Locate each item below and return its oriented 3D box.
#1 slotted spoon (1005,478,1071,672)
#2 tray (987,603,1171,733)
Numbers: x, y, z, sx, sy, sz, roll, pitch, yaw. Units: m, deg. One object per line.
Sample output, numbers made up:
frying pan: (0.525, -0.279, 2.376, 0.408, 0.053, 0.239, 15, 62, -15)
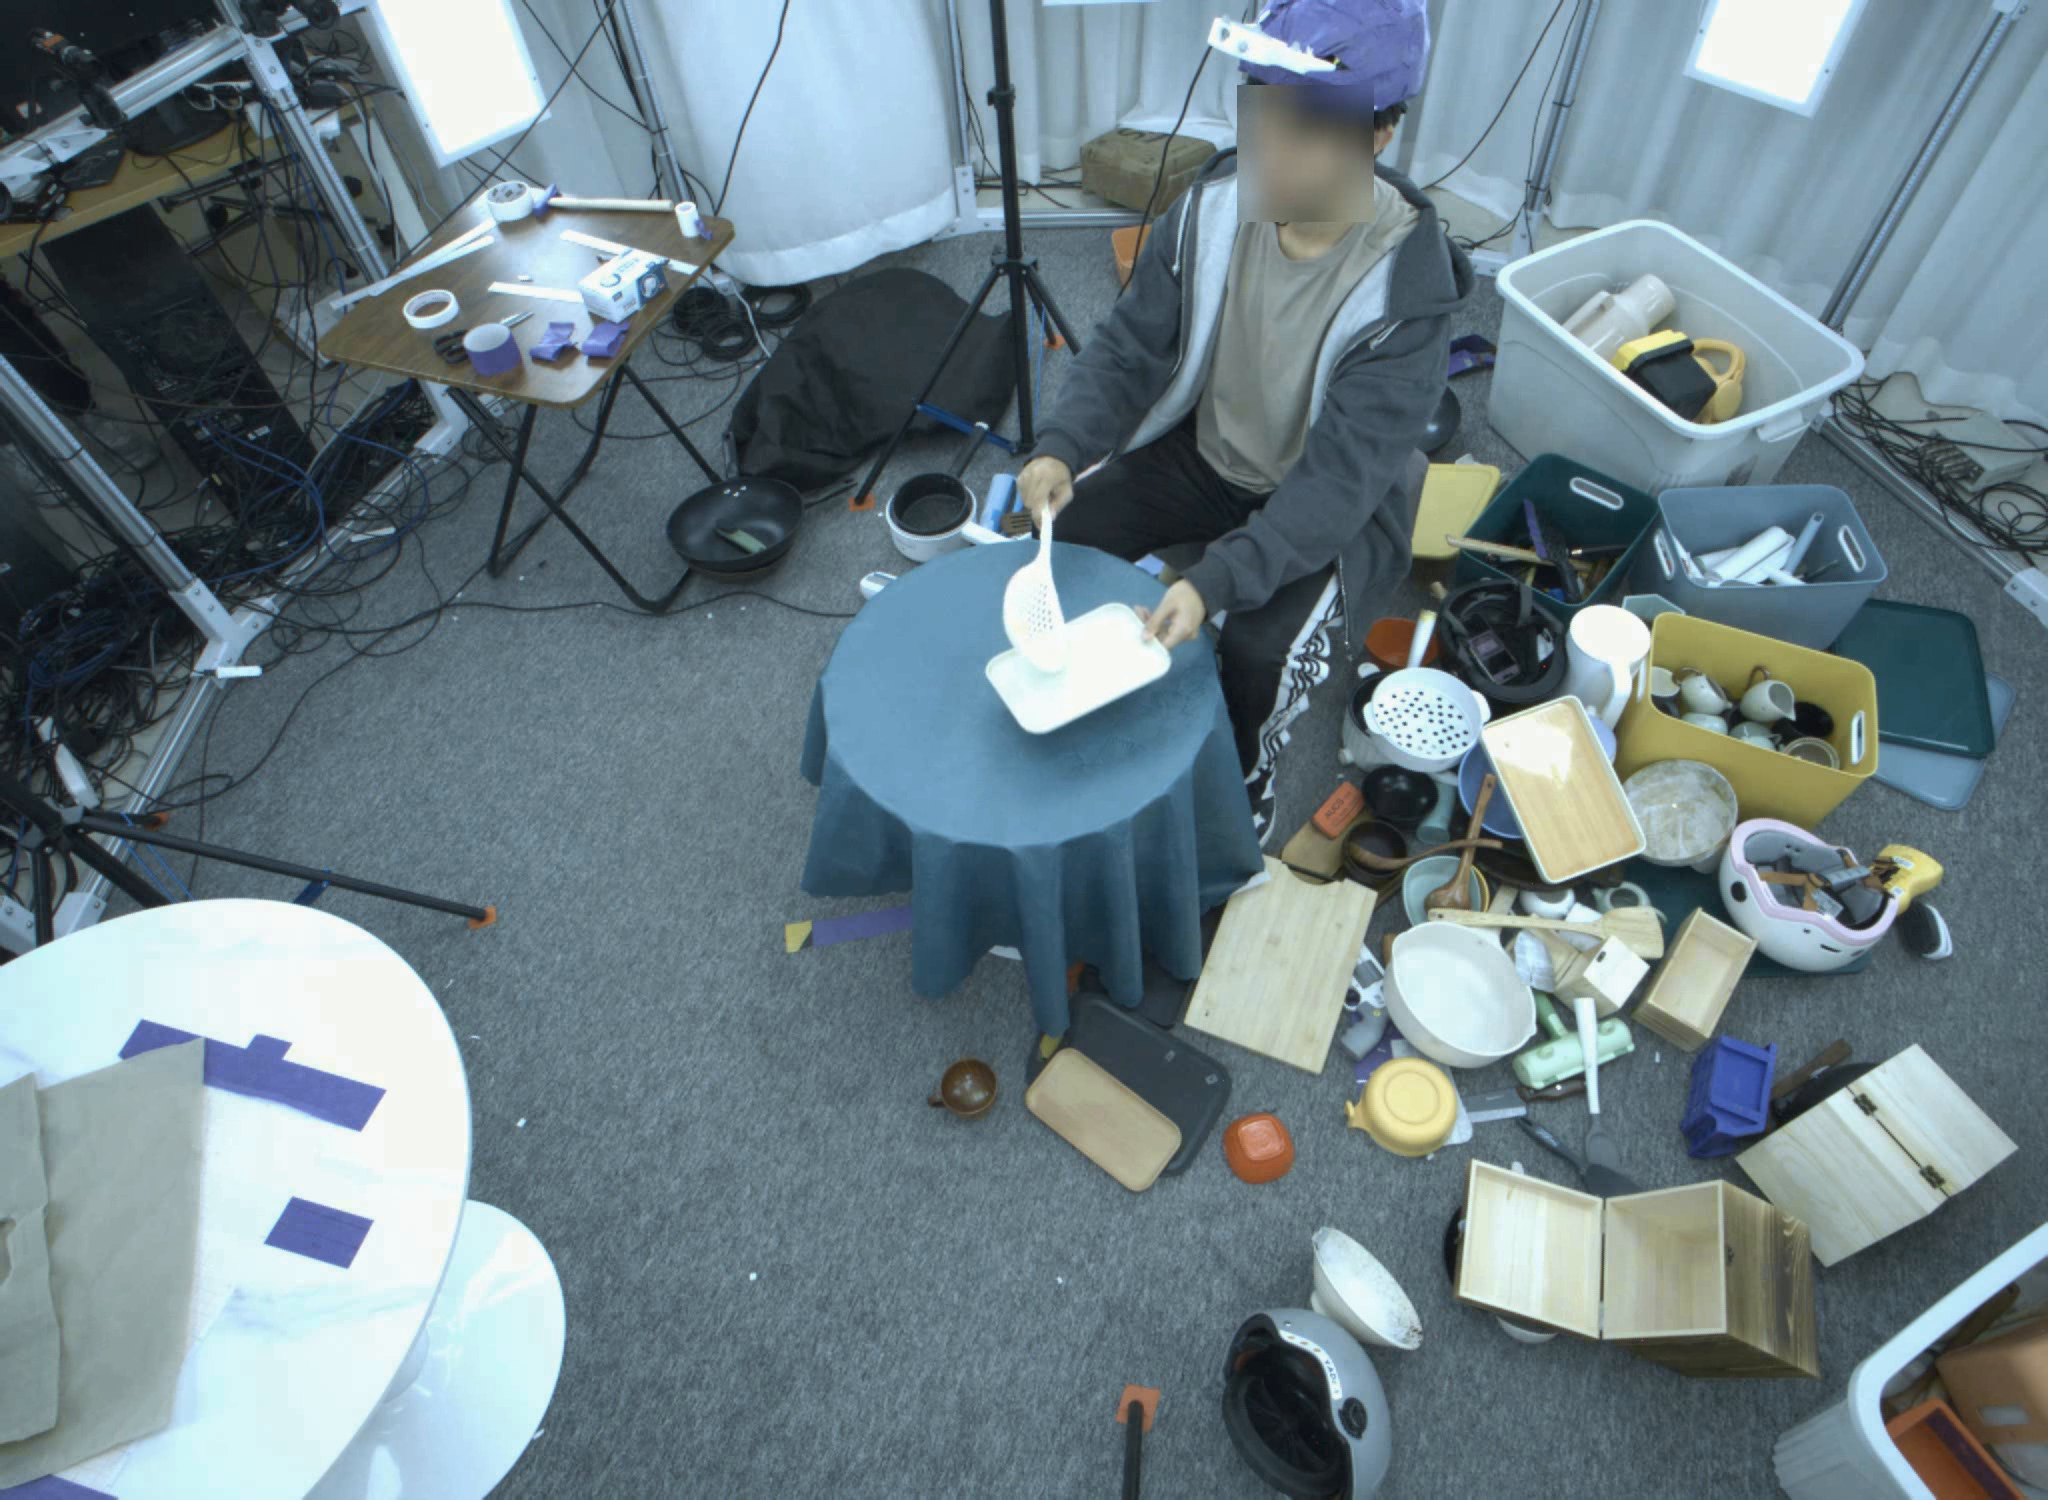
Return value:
slotted spoon: (0.020, -0.265, 1.782, 0.049, 0.140, 0.345, -16, 54, 38)
tray: (0.079, -0.119, 1.771, 0.241, 0.018, 0.168, -26, 51, -11)
